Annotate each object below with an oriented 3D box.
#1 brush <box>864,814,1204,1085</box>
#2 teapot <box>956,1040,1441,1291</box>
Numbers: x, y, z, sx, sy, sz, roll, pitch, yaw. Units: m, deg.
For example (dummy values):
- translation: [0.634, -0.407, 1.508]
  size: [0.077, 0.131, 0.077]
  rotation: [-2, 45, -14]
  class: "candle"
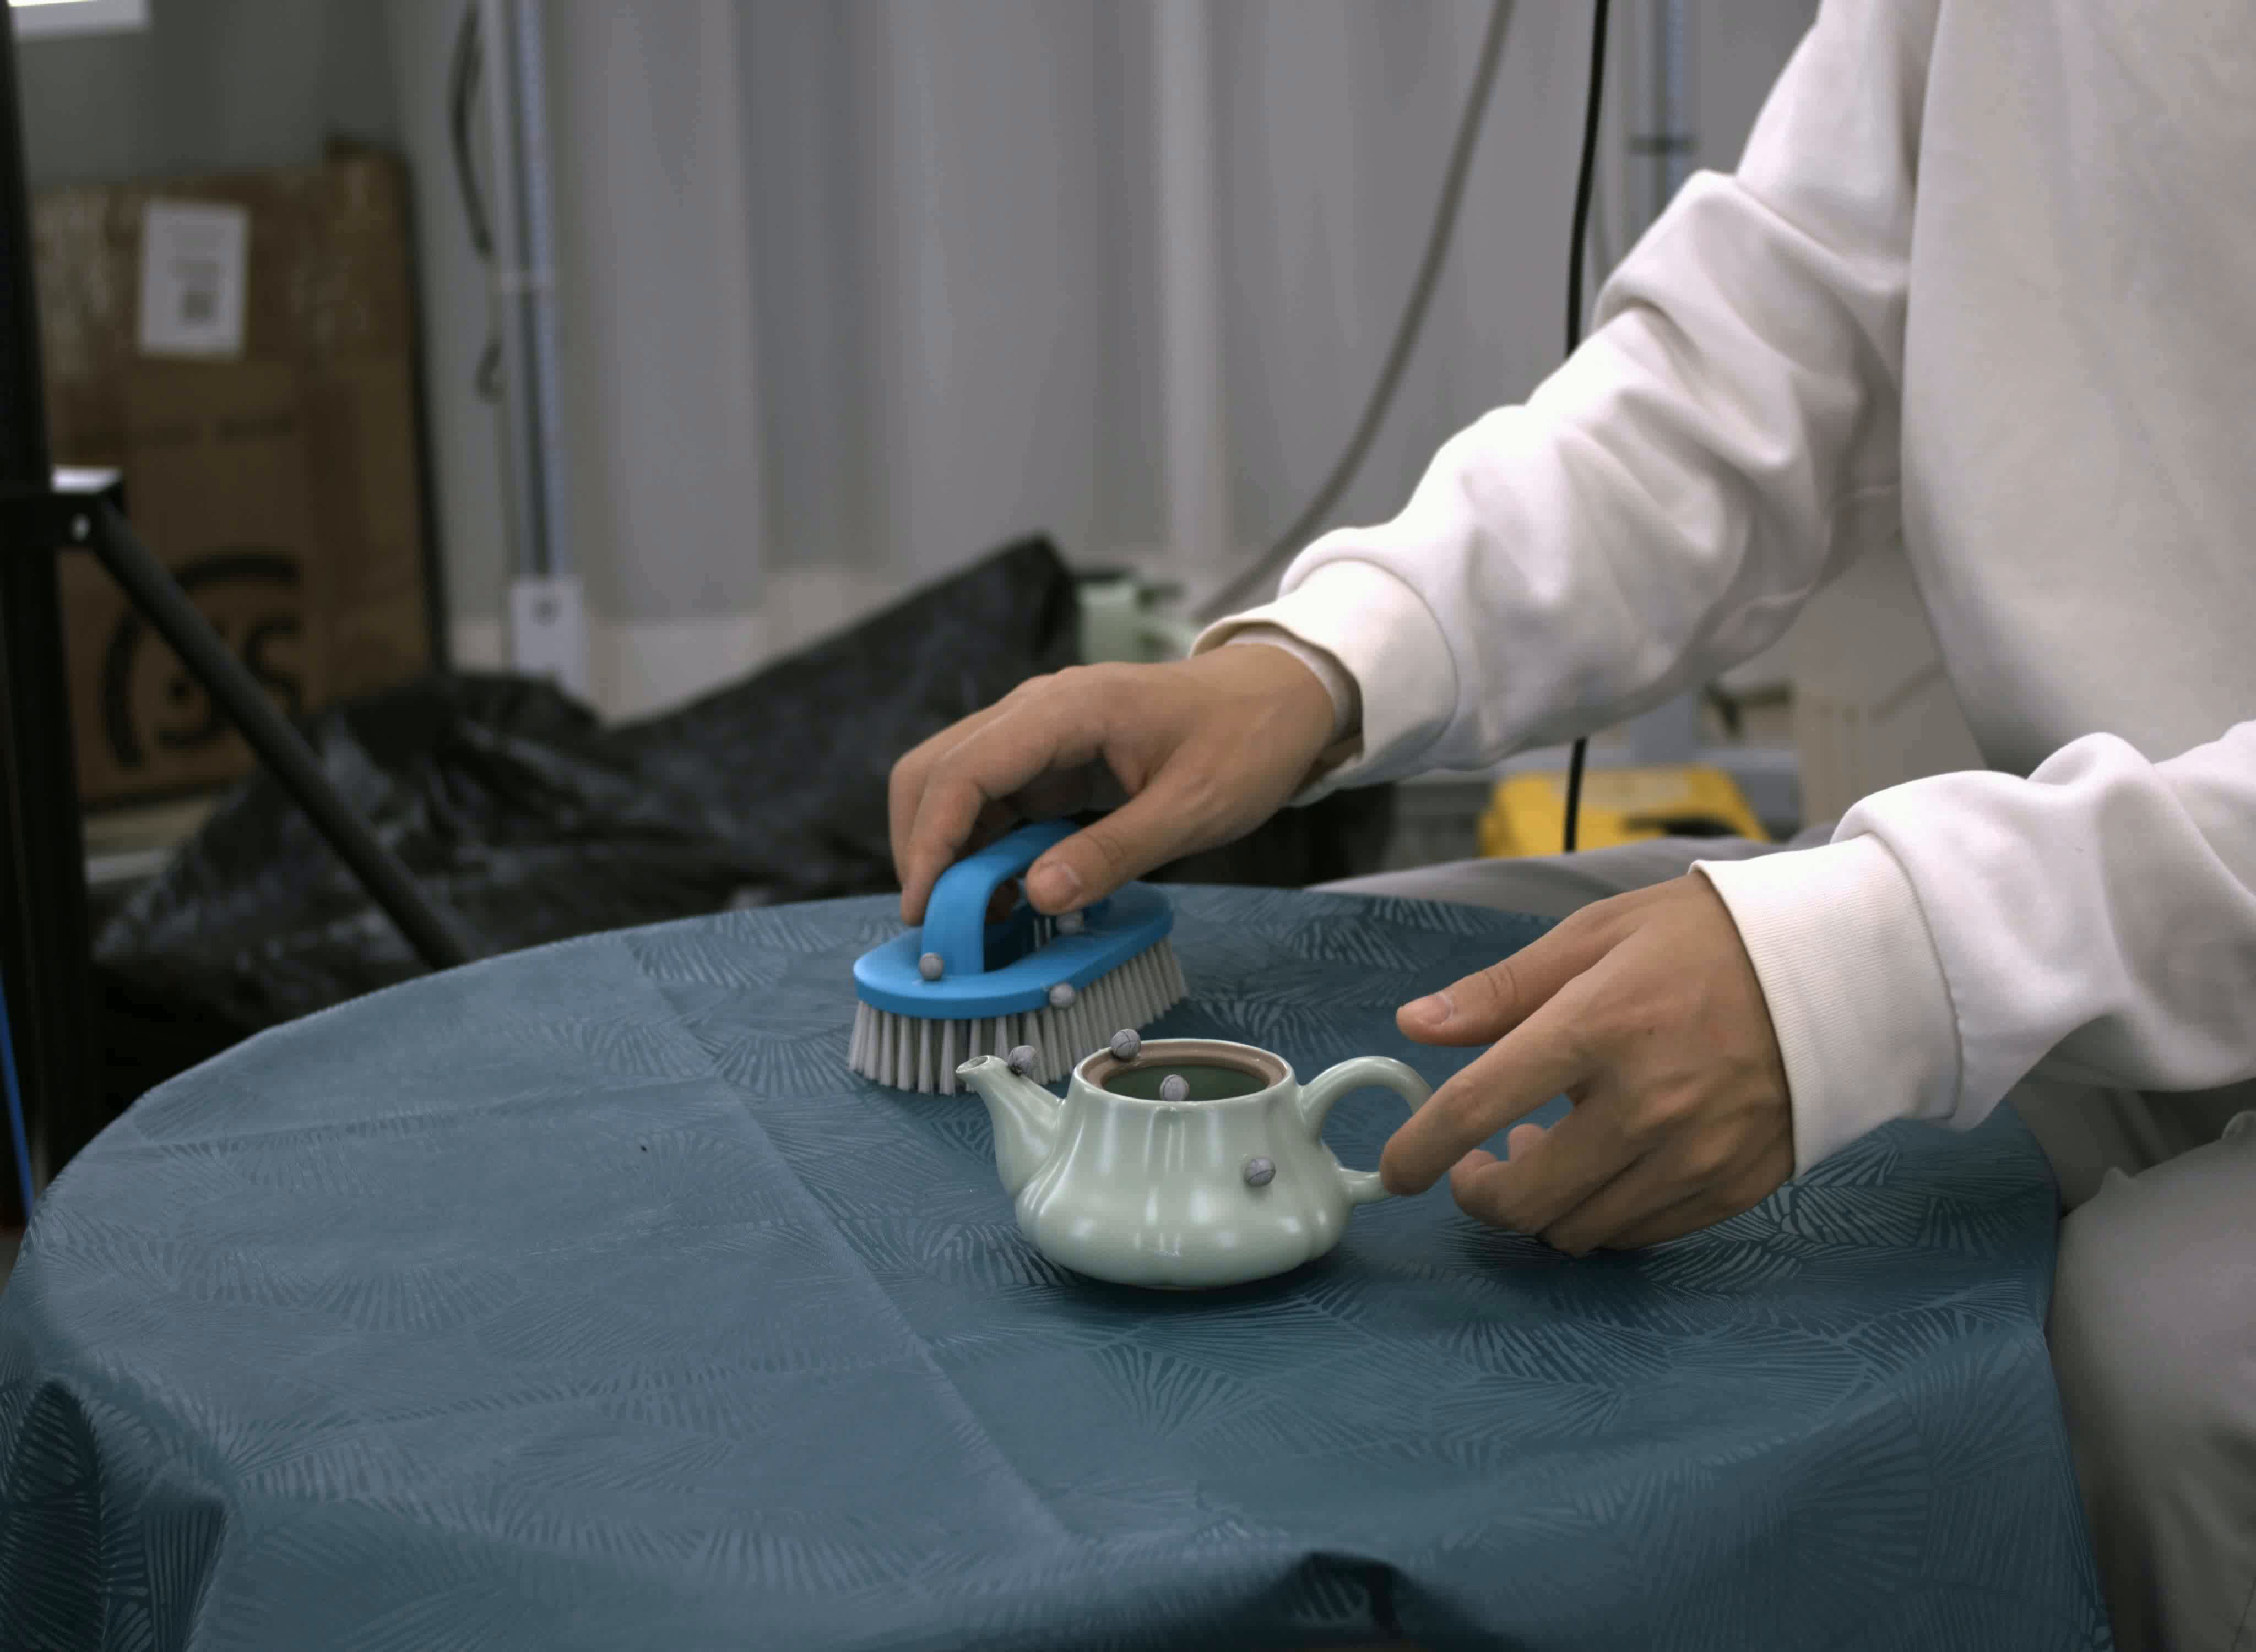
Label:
- translation: [-0.032, 0.034, 1.707]
  size: [0.085, 0.064, 0.139]
  rotation: [0, 14, 26]
  class: "brush"
- translation: [0.020, 0.094, 1.495]
  size: [0.137, 0.061, 0.096]
  rotation: [-1, 13, 5]
  class: "teapot"
